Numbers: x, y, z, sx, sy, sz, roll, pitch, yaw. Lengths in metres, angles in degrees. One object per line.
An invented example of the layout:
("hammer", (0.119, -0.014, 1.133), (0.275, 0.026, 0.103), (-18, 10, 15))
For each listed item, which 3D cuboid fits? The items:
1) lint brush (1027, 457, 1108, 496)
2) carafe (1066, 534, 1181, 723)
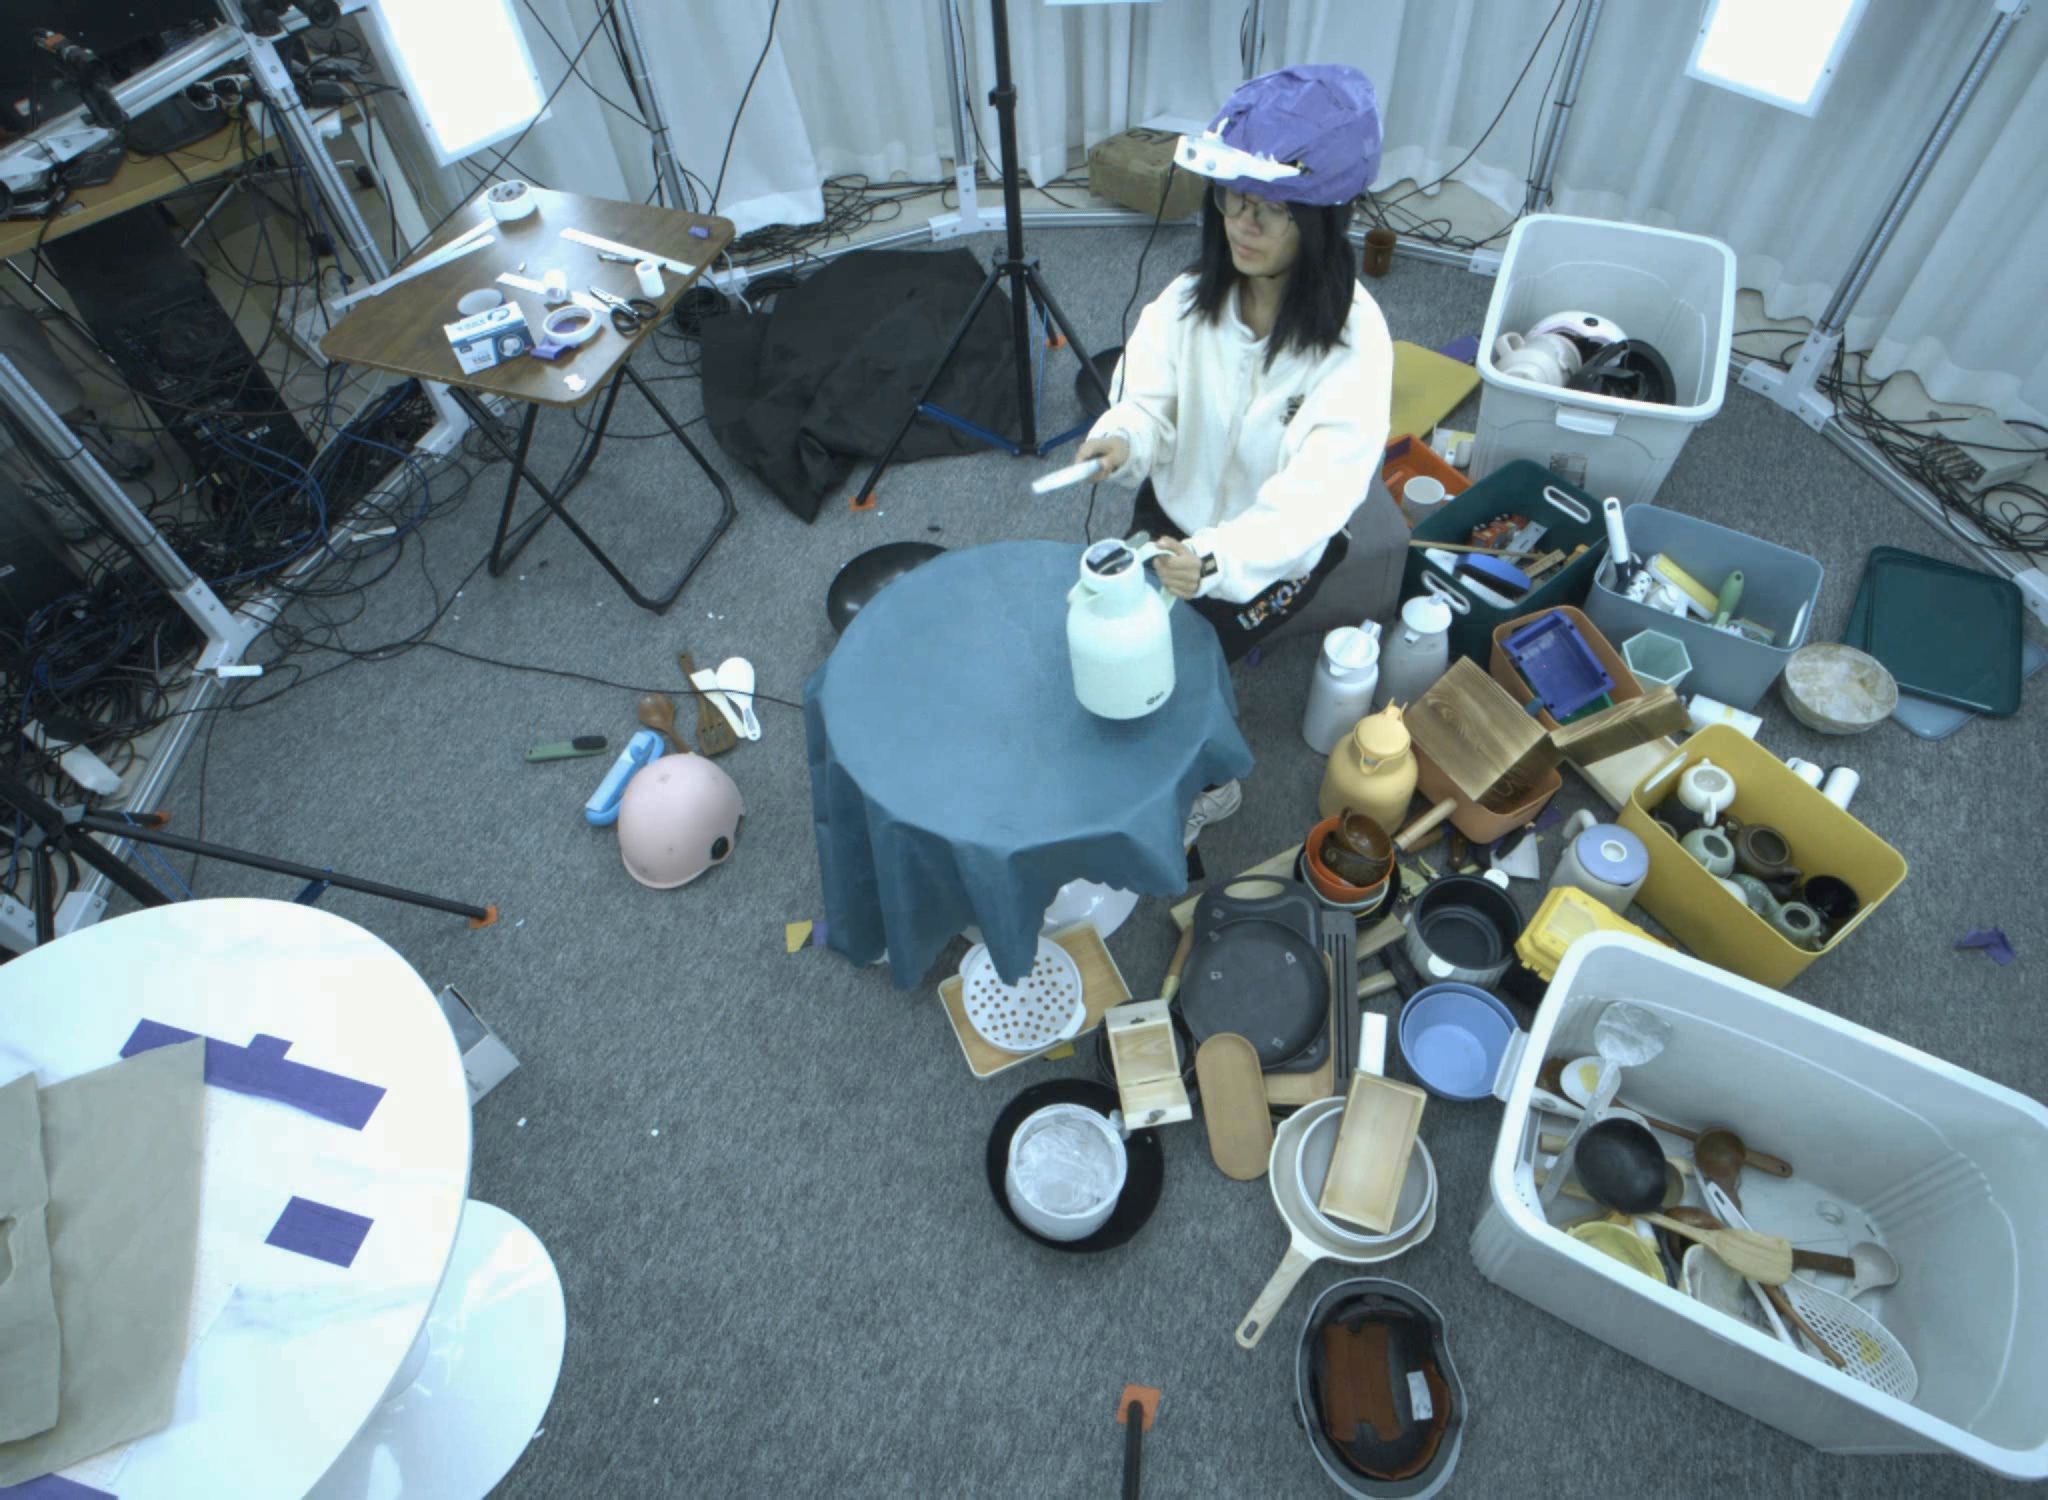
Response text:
("lint brush", (0.069, -0.379, 1.677), (0.059, 0.021, 0.310), (-14, 13, 22))
("carafe", (0.139, -0.172, 1.685), (0.188, 0.260, 0.141), (-35, 53, -22))
